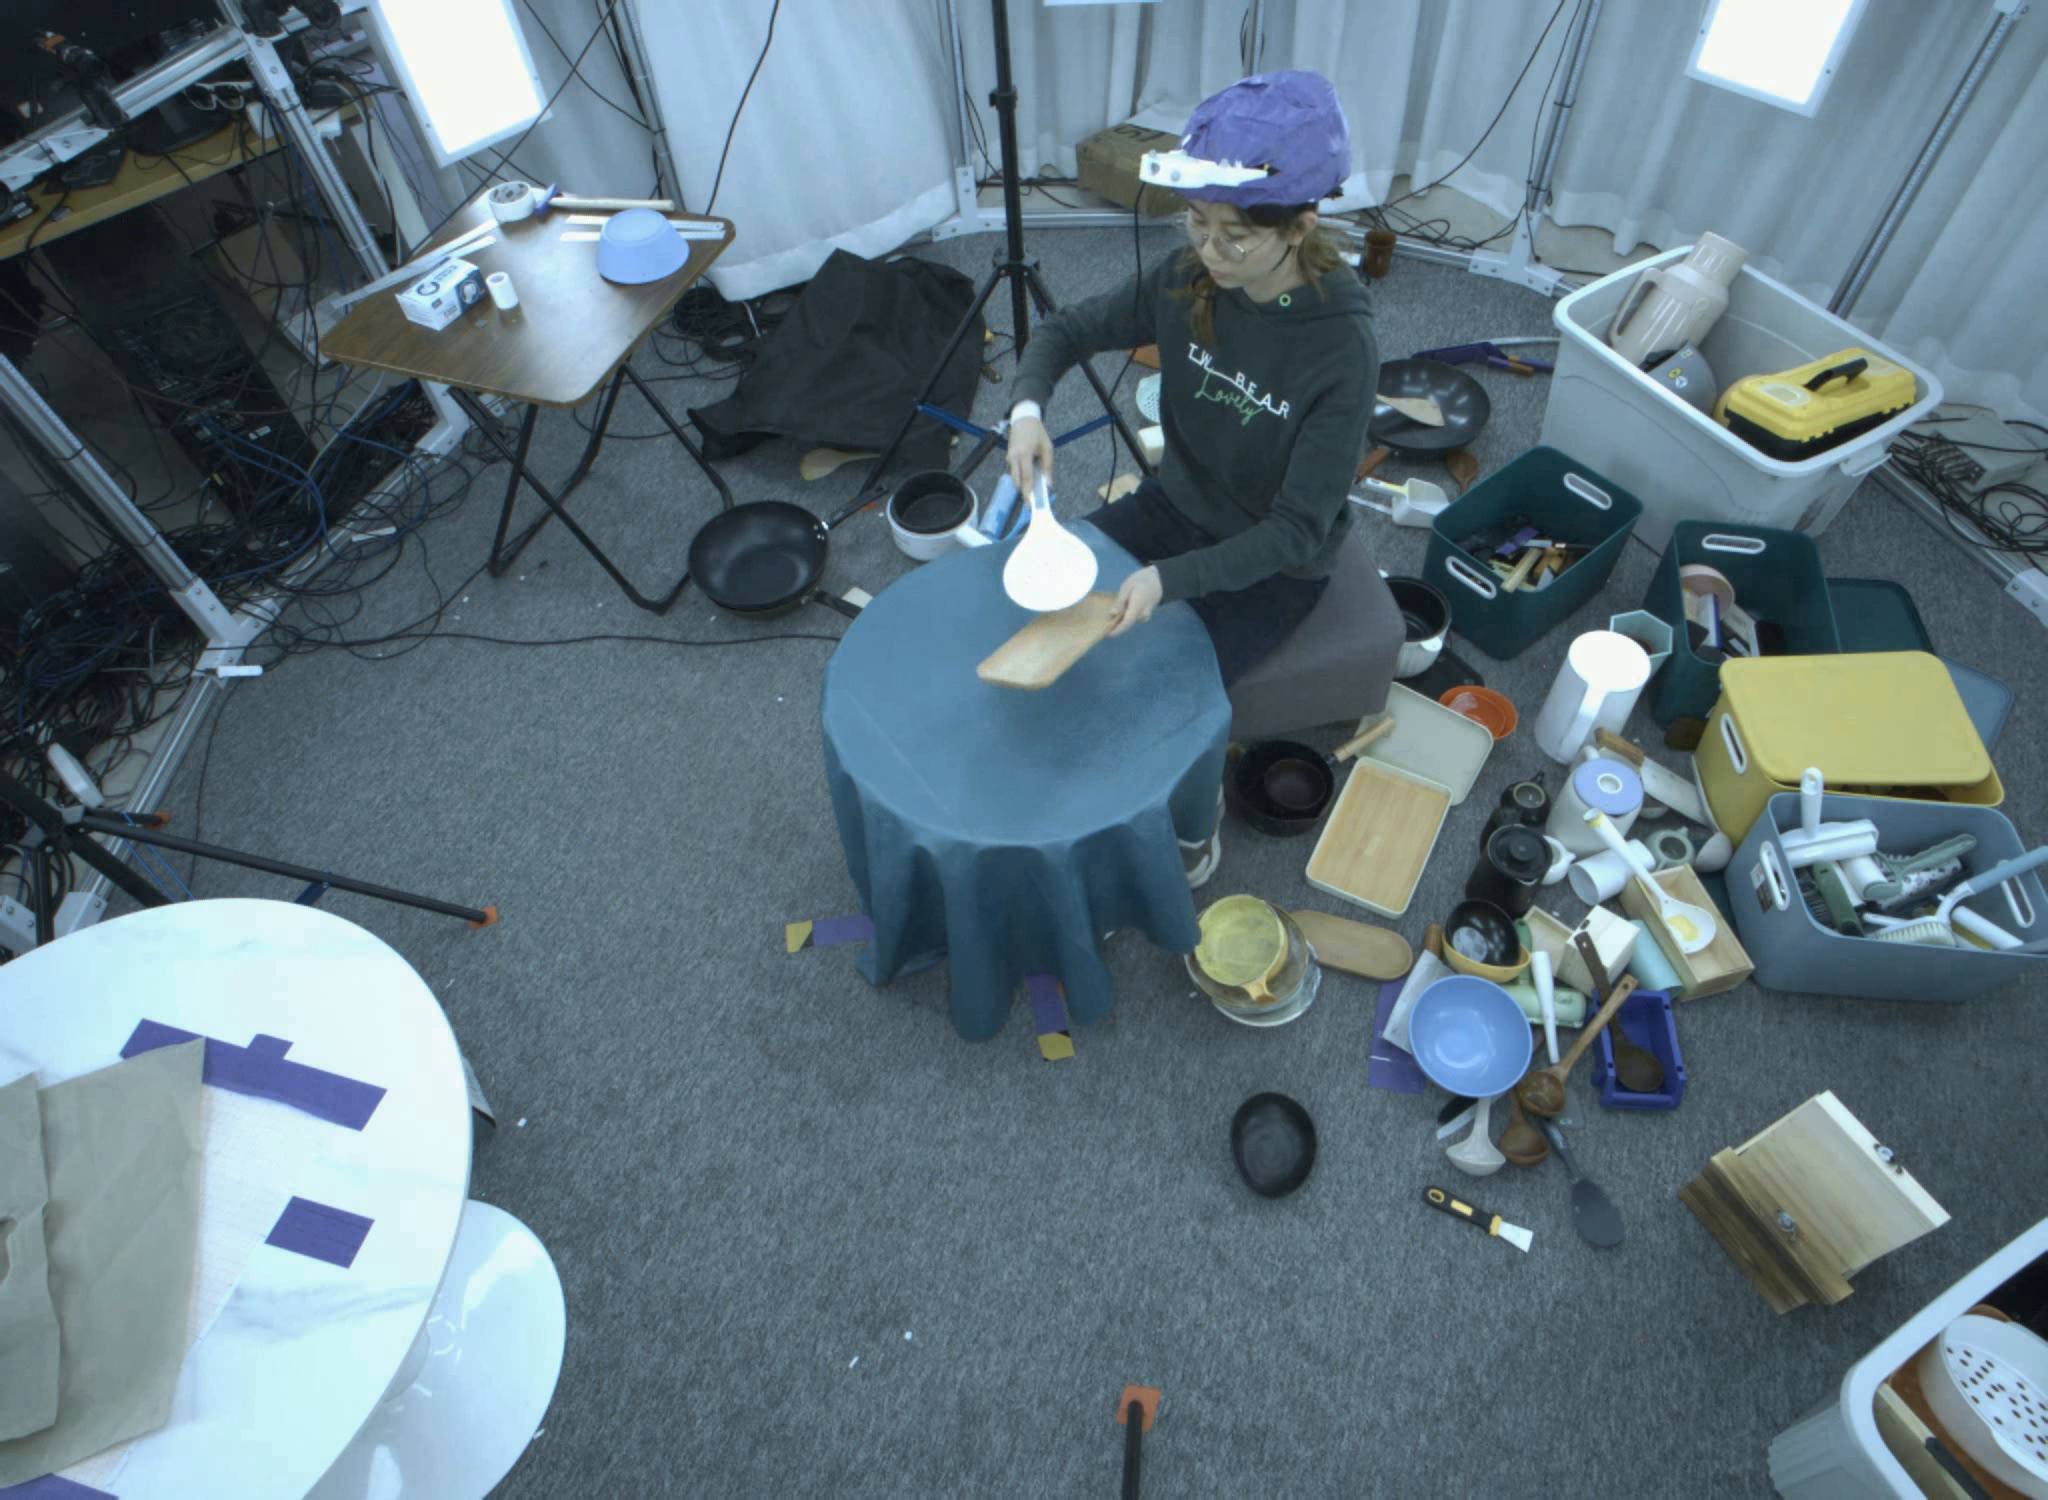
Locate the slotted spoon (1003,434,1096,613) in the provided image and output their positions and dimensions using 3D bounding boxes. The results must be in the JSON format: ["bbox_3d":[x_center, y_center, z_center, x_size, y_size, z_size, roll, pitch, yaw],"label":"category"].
[{"bbox_3d":[0.026,-0.346,1.842,0.136,0.046,0.346,-8,66,2],"label":"slotted spoon"}]

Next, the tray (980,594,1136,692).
[{"bbox_3d":[0.051,-0.155,1.749,0.127,0.023,0.253,15,42,37],"label":"tray"}]
